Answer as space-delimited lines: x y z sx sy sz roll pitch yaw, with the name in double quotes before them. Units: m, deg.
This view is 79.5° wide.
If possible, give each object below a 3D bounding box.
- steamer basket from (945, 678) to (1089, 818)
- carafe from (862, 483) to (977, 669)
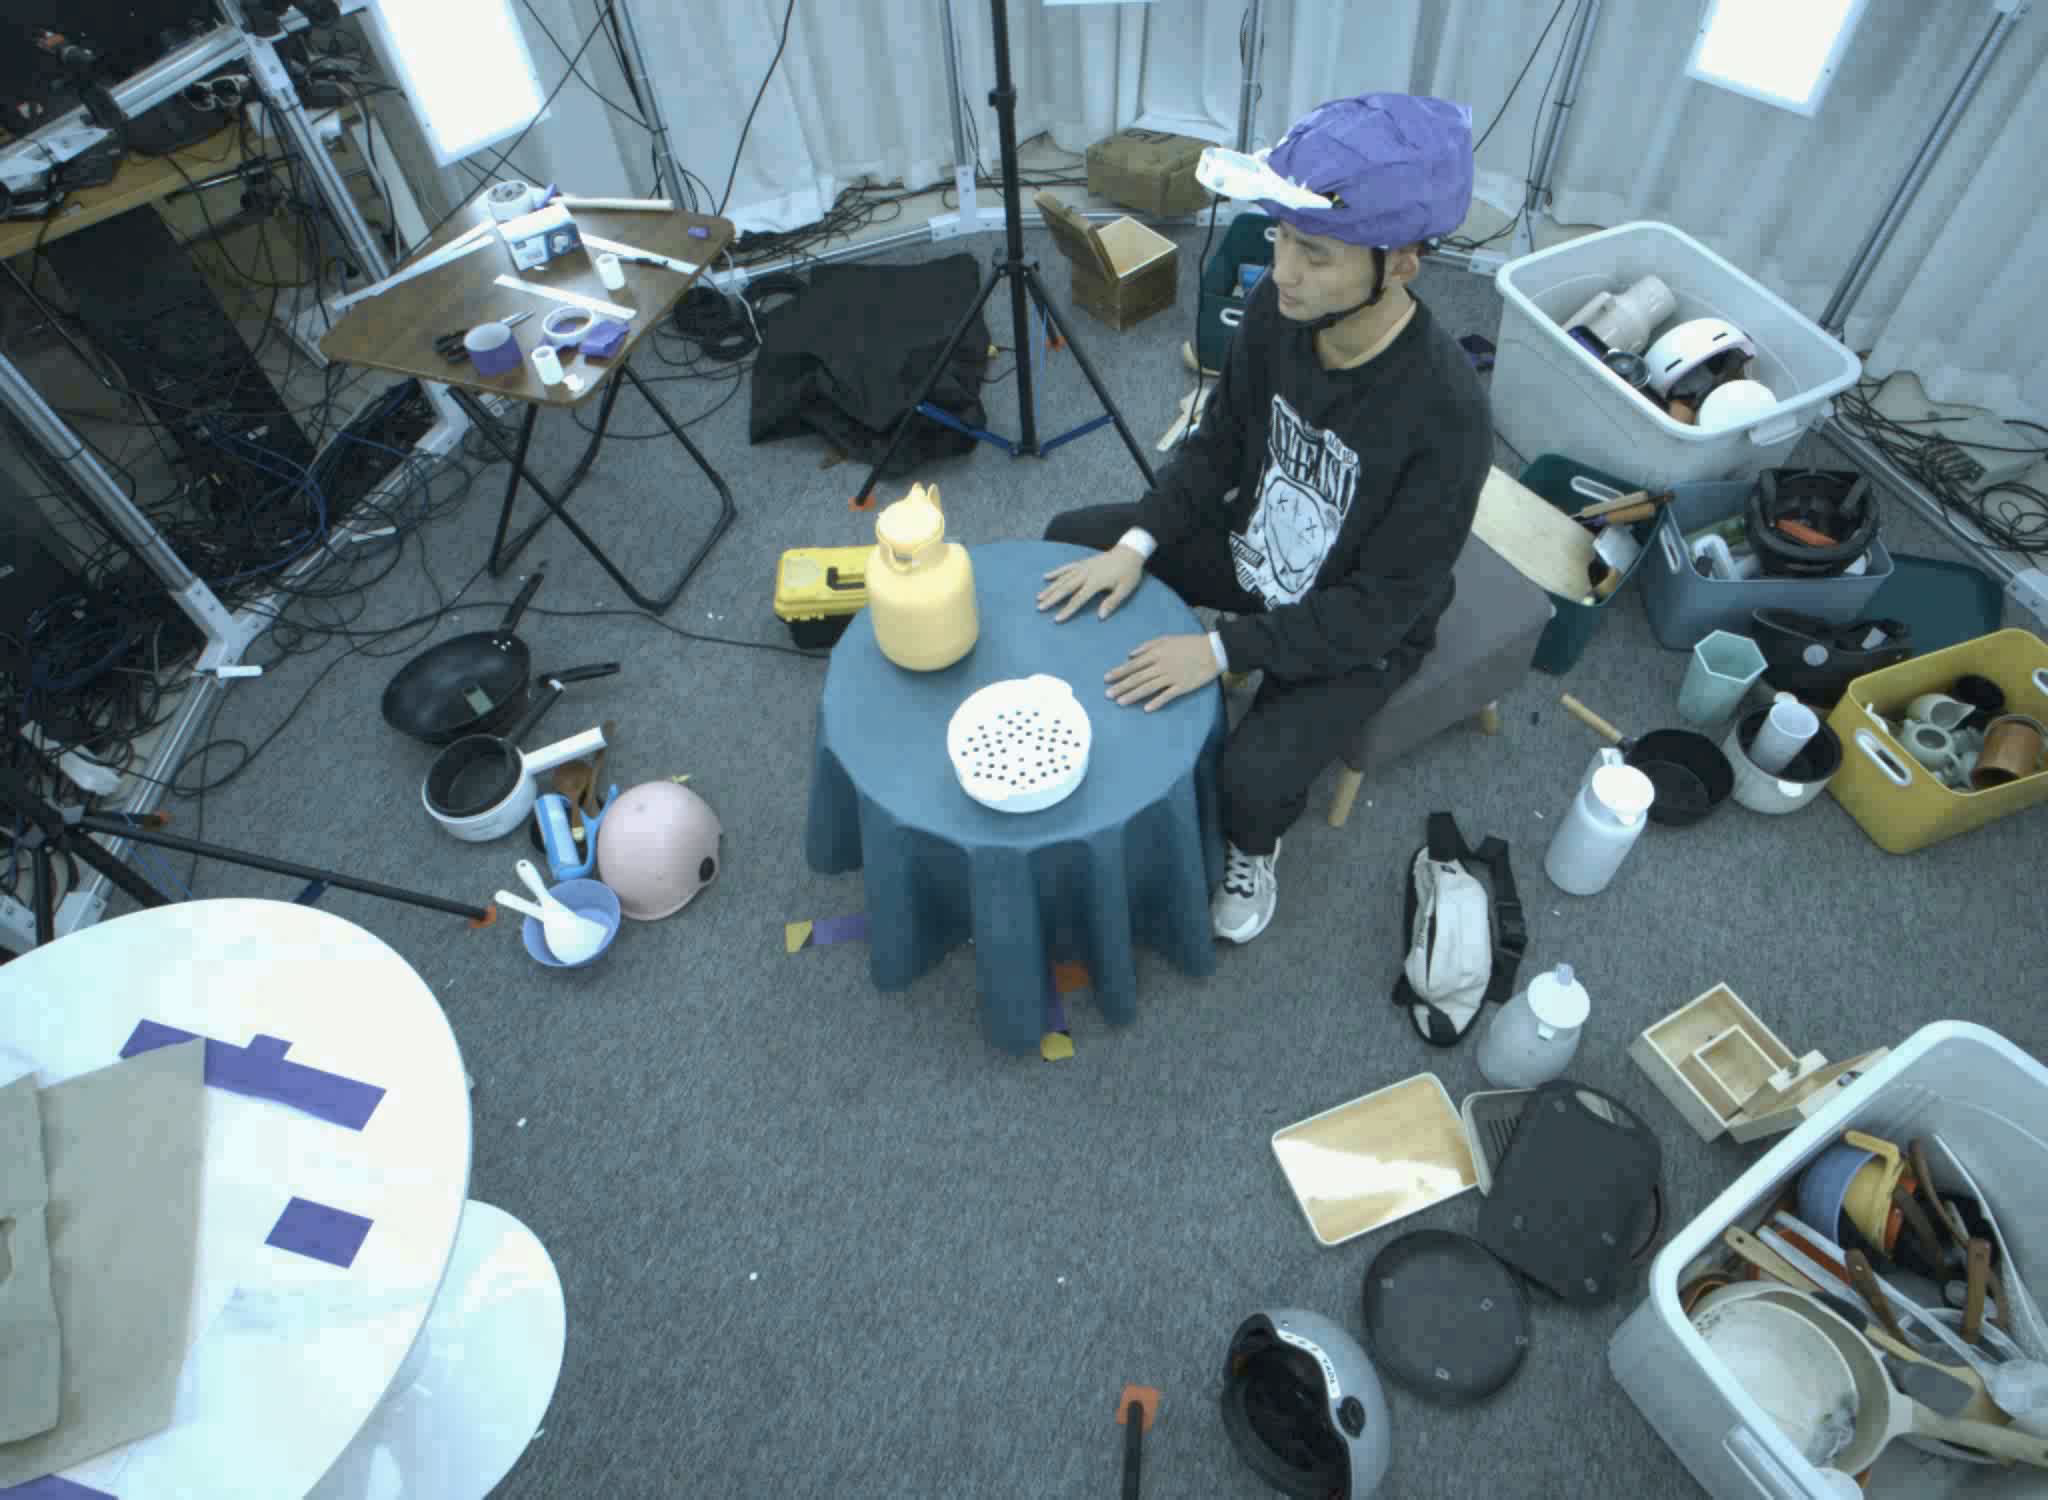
"steamer basket" -0.008 0.002 1.744 0.199 0.070 0.231 20 58 17
"carafe" -0.152 -0.265 1.816 0.163 0.263 0.201 8 57 6
